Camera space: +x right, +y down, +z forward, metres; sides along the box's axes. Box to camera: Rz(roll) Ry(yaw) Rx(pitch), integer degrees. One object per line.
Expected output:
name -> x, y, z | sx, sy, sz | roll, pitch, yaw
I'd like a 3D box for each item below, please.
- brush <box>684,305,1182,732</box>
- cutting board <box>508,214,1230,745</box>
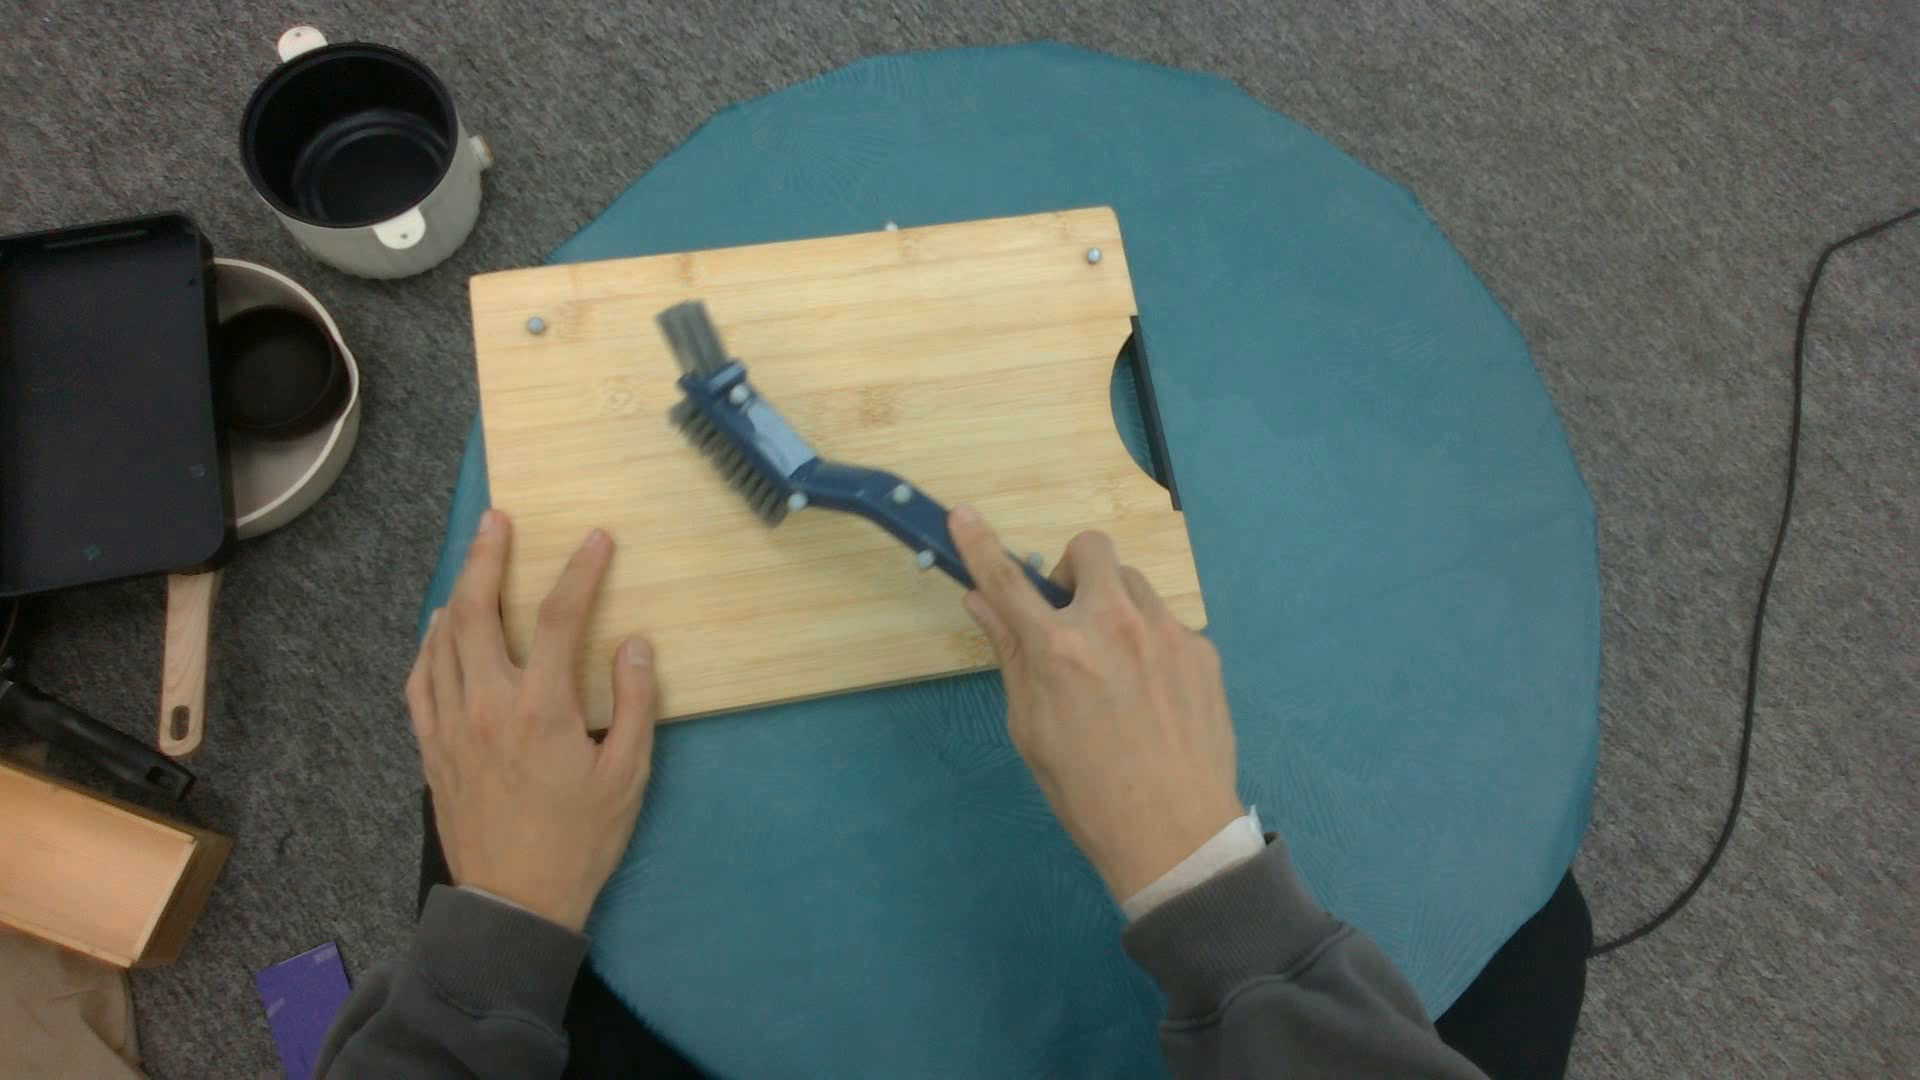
brush -> -0.018, -0.010, 0.617 | 0.273, 0.095, 0.034 | 28, 39, 17
cutting board -> -0.052, -0.040, 0.720 | 0.349, 0.023, 0.251 | -9, 76, -8
